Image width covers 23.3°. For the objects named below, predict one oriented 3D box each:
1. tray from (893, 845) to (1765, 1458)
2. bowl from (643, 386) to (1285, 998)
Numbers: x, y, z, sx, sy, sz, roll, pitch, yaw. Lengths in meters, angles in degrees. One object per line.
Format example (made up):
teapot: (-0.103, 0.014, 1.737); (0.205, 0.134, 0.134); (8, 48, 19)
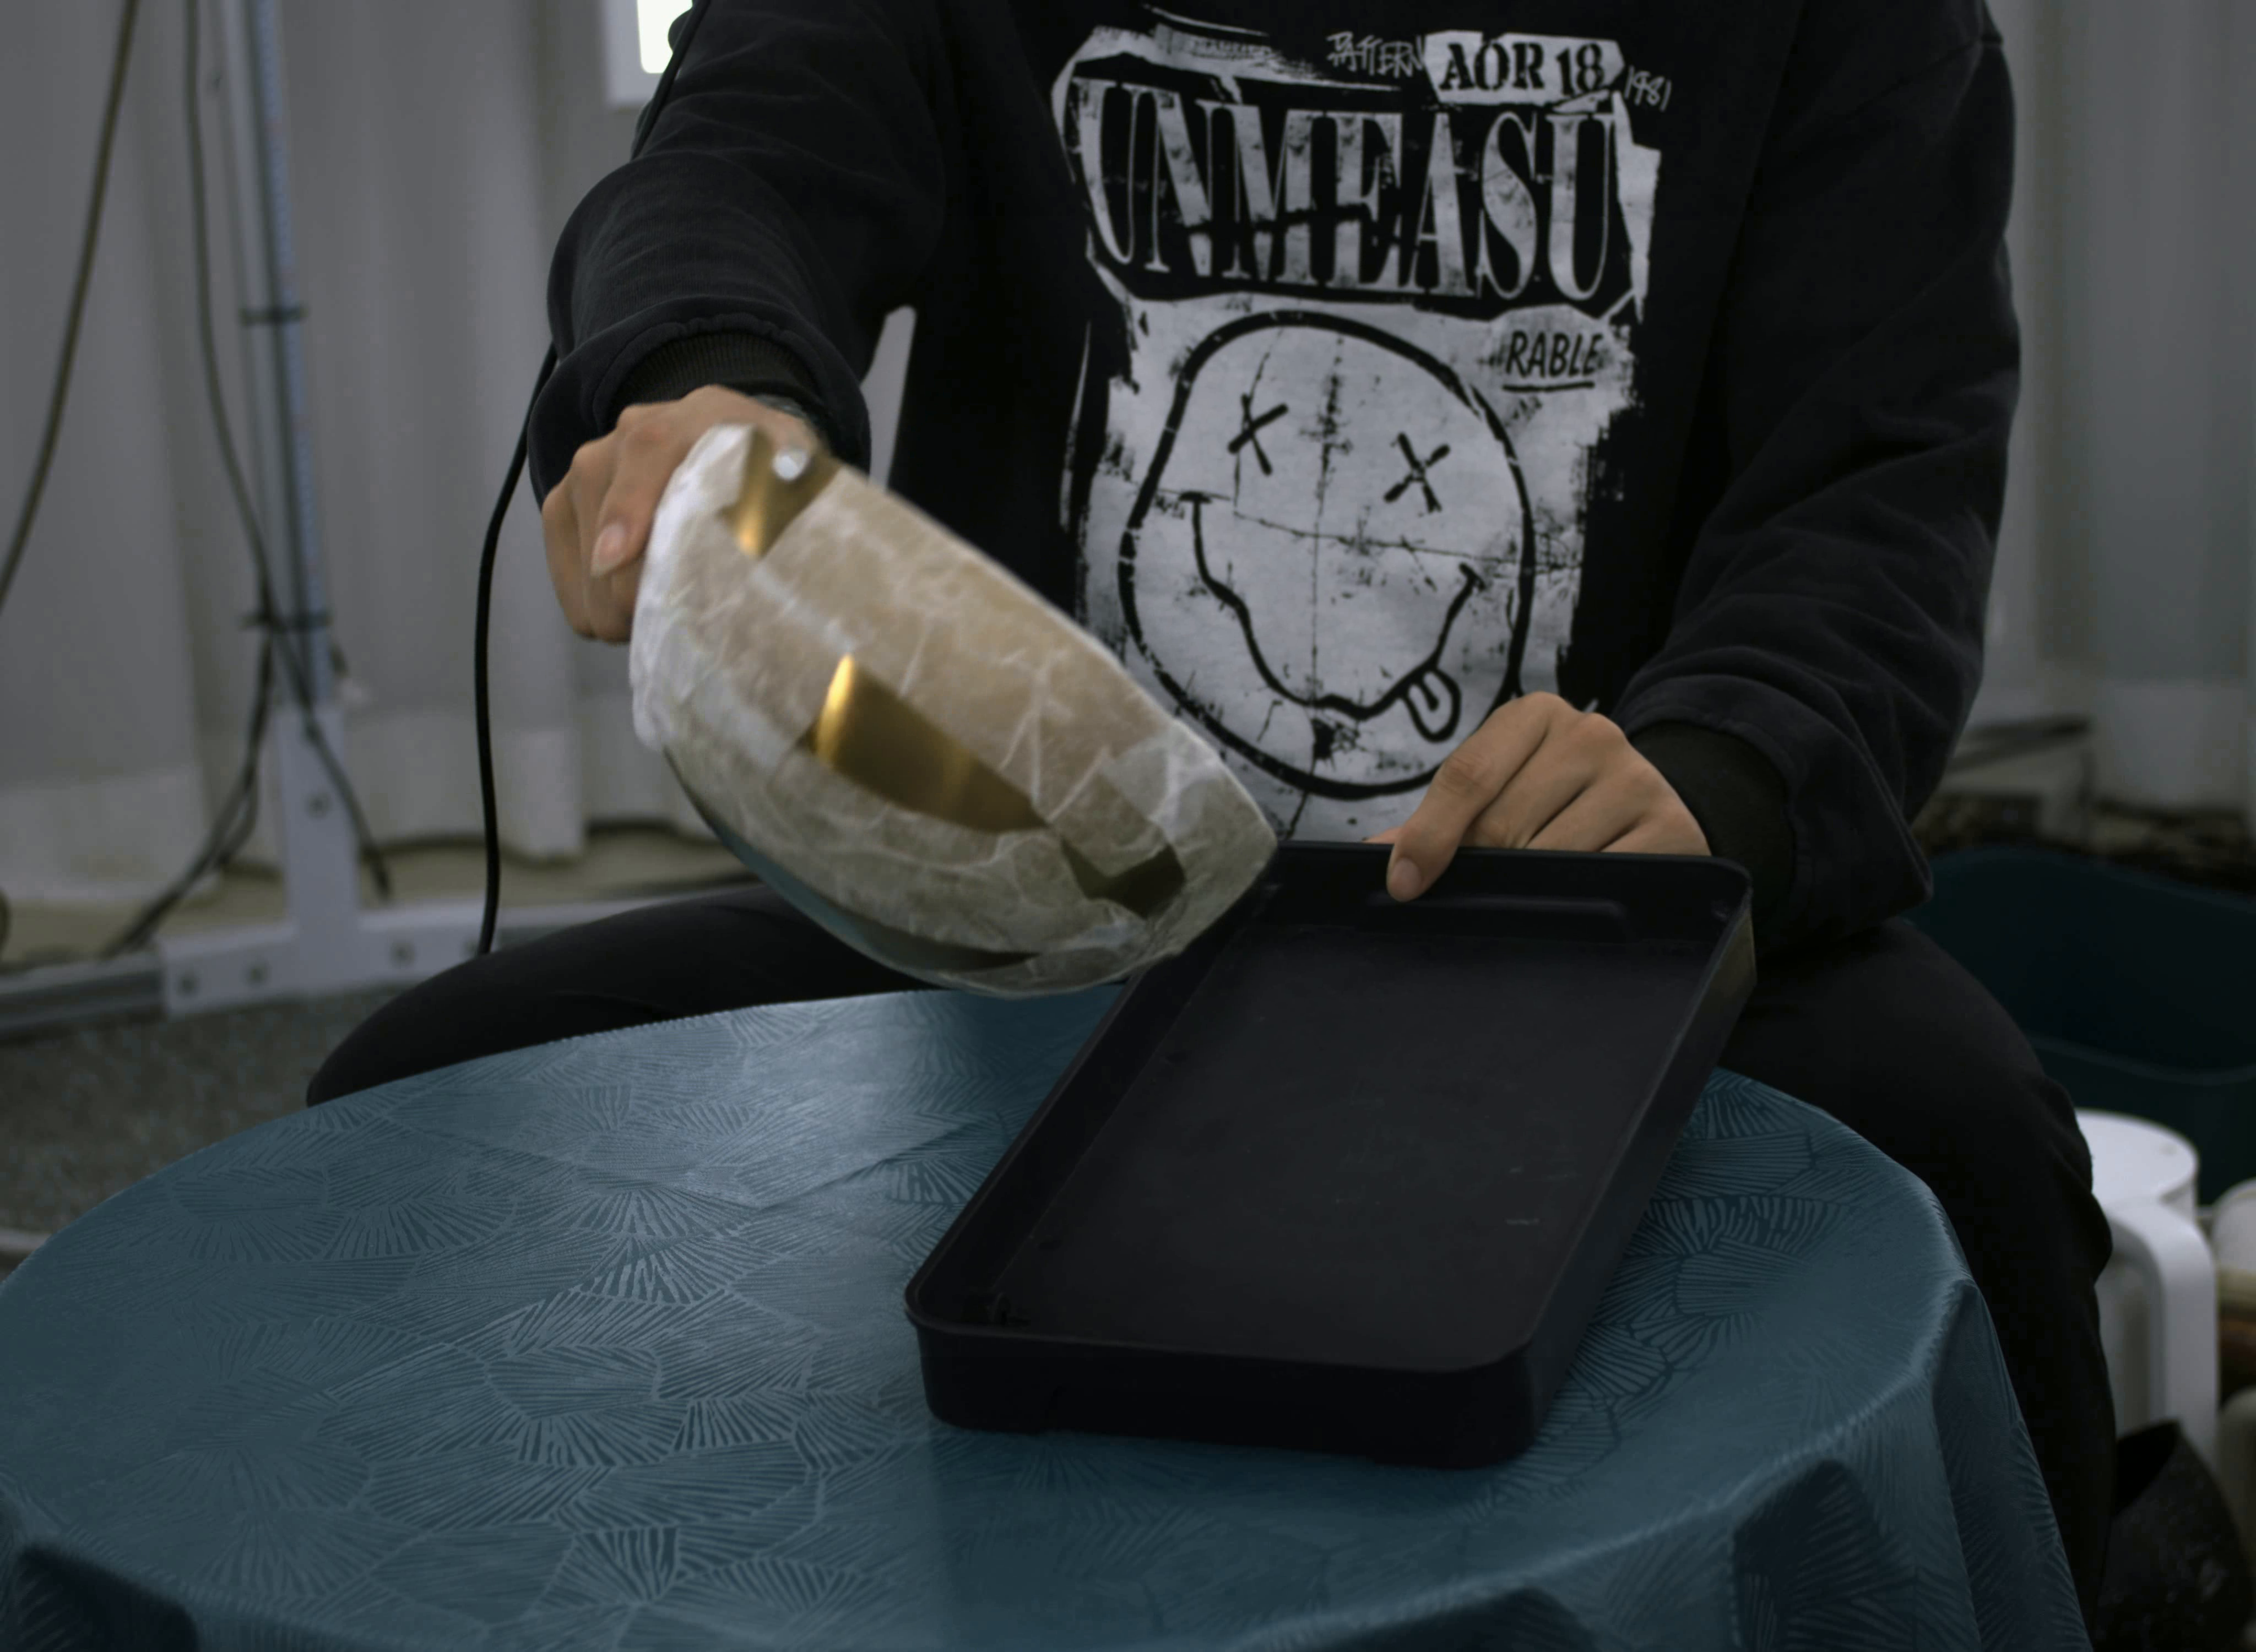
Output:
tray: (0.069, 0.089, 1.621); (0.184, 0.037, 0.320); (2, 25, 21)
bowl: (-0.062, -0.017, 1.522); (0.095, 0.212, 0.216); (-51, 31, -10)
